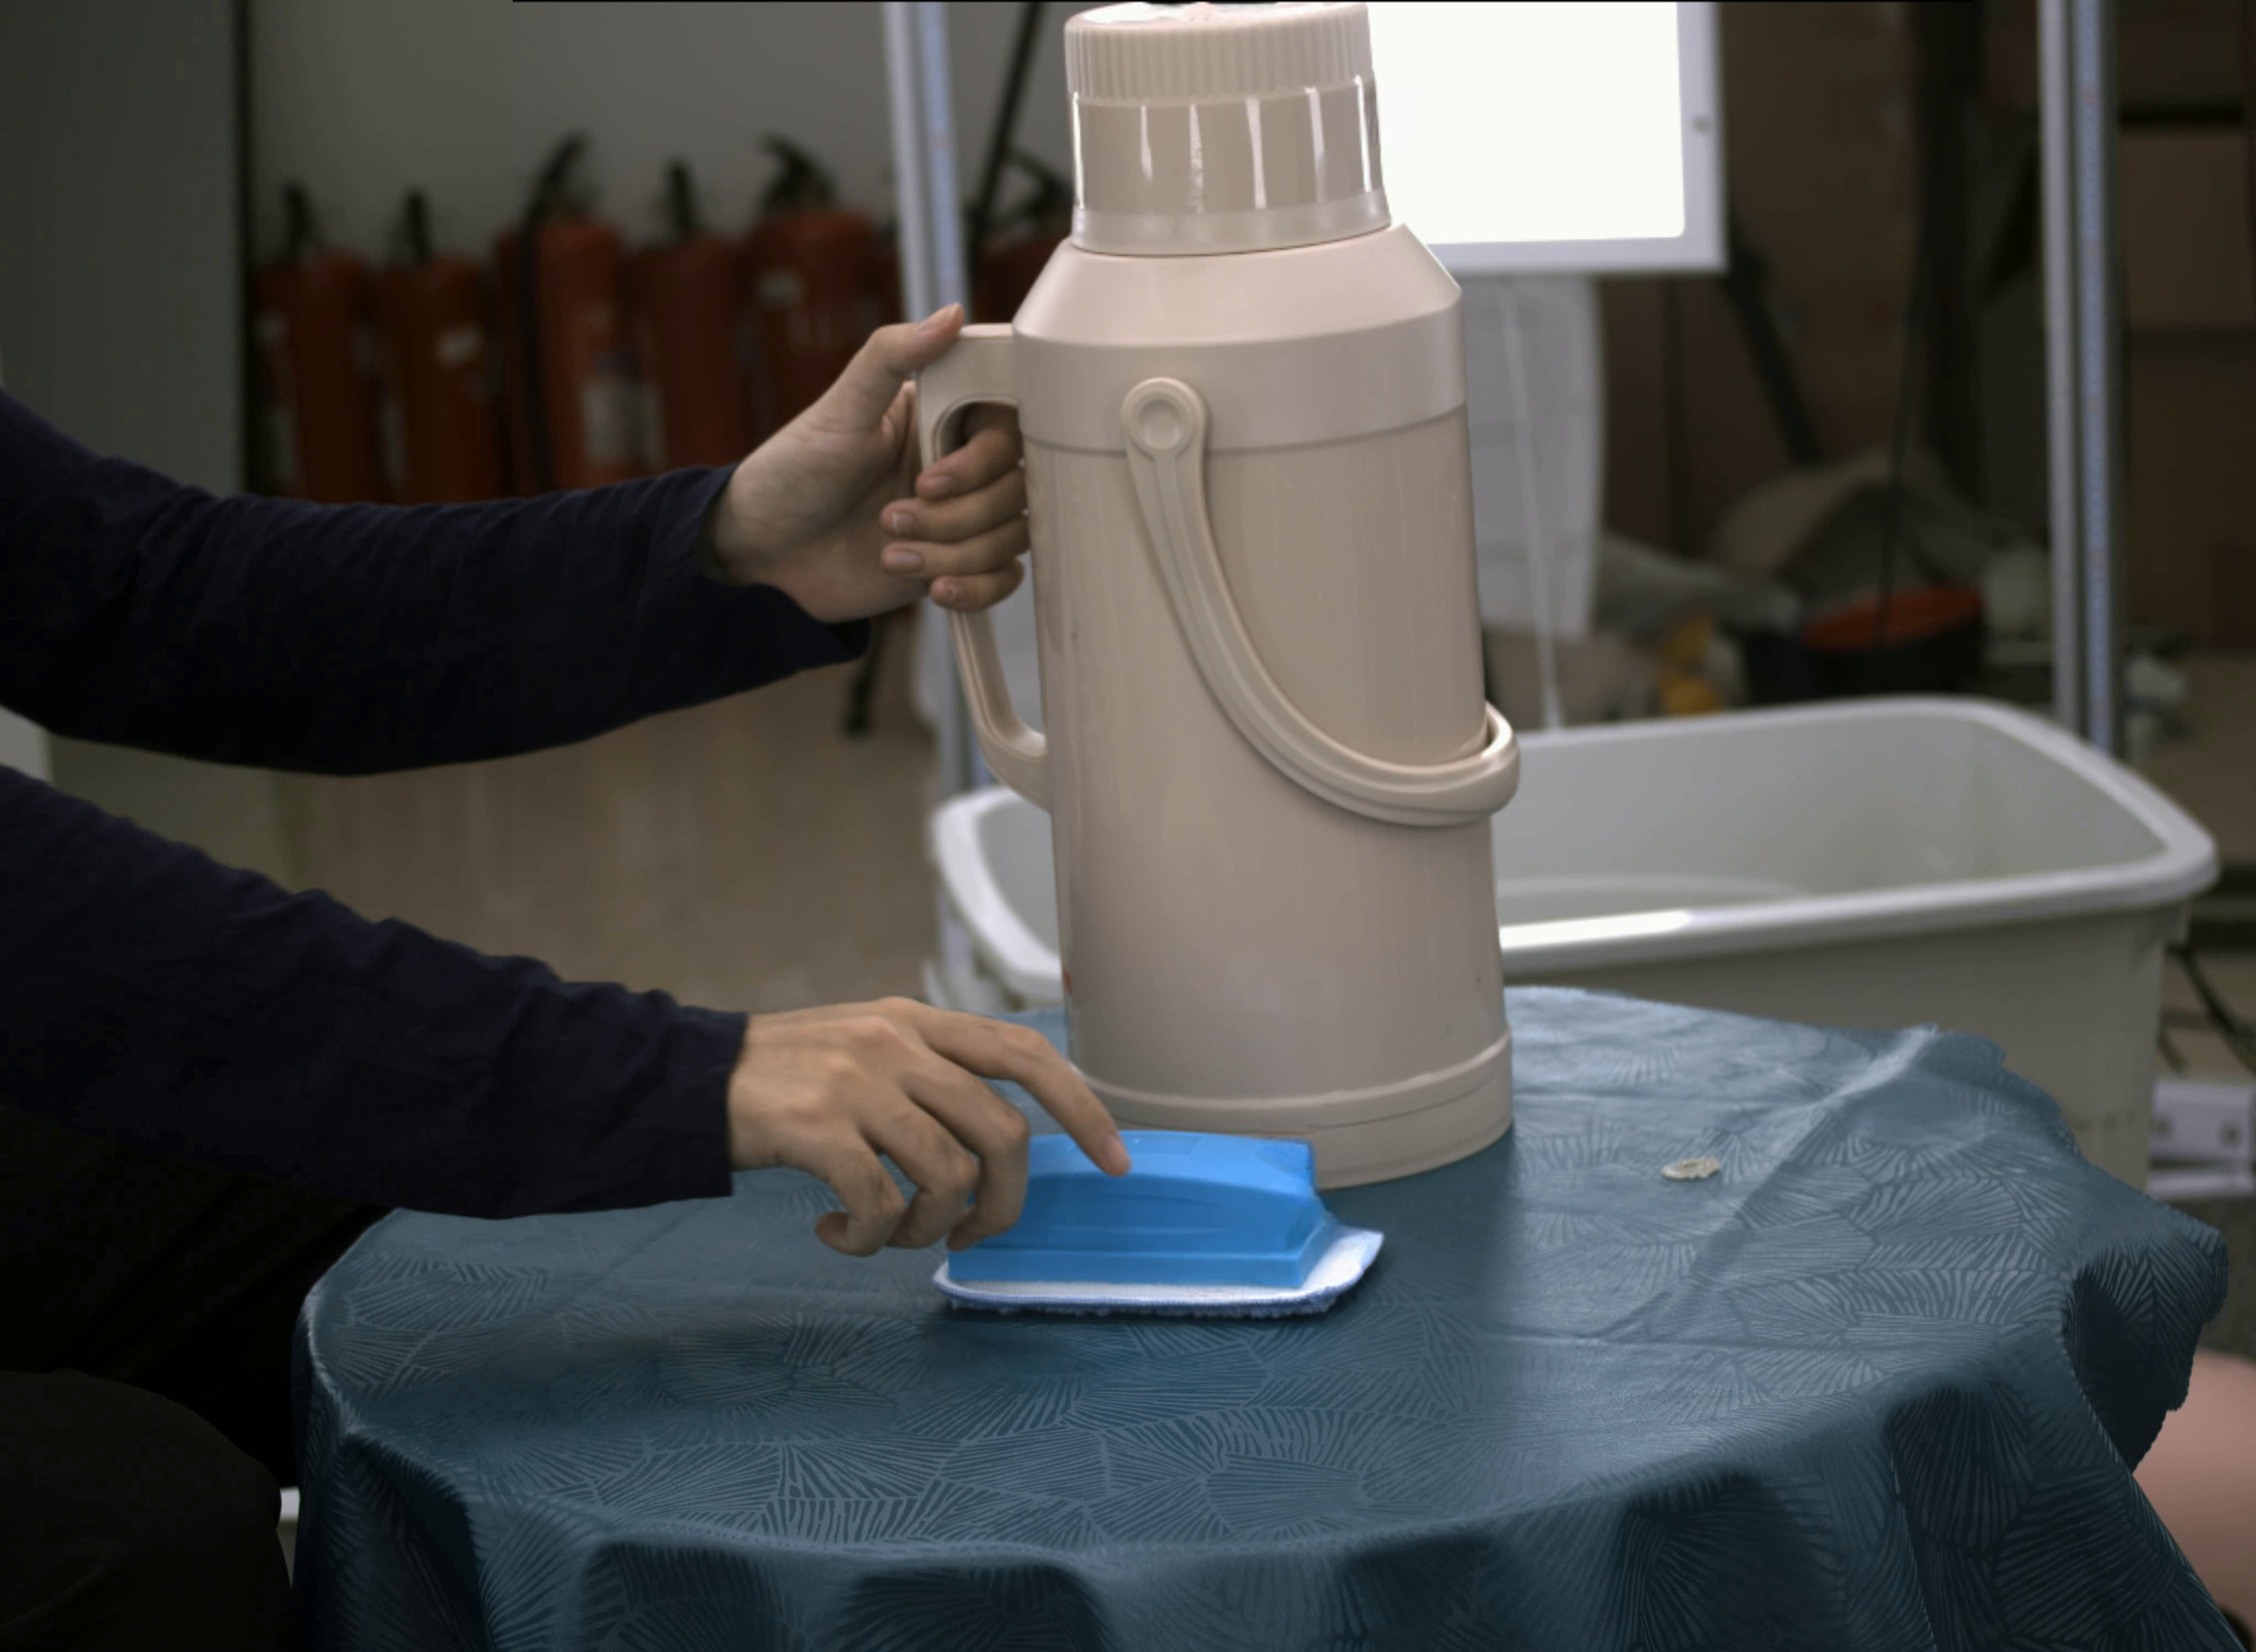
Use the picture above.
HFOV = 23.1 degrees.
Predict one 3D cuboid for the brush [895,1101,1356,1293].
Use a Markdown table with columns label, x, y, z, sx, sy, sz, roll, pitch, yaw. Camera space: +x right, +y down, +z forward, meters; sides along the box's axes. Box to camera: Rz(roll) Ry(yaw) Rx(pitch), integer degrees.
| label | x | y | z | sx | sy | sz | roll | pitch | yaw |
| --- | --- | --- | --- | --- | --- | --- | --- | --- | --- |
| brush | 0.000 | 0.120 | 1.791 | 0.146 | 0.056 | 0.082 | 4 | 12 | 19 |

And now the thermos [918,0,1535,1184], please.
| label | x | y | z | sx | sy | sz | roll | pitch | yaw |
| --- | --- | --- | --- | --- | --- | --- | --- | --- | --- |
| thermos | 0.034 | -0.086 | 1.918 | 0.210 | 0.408 | 0.172 | -1 | 16 | 20 |
